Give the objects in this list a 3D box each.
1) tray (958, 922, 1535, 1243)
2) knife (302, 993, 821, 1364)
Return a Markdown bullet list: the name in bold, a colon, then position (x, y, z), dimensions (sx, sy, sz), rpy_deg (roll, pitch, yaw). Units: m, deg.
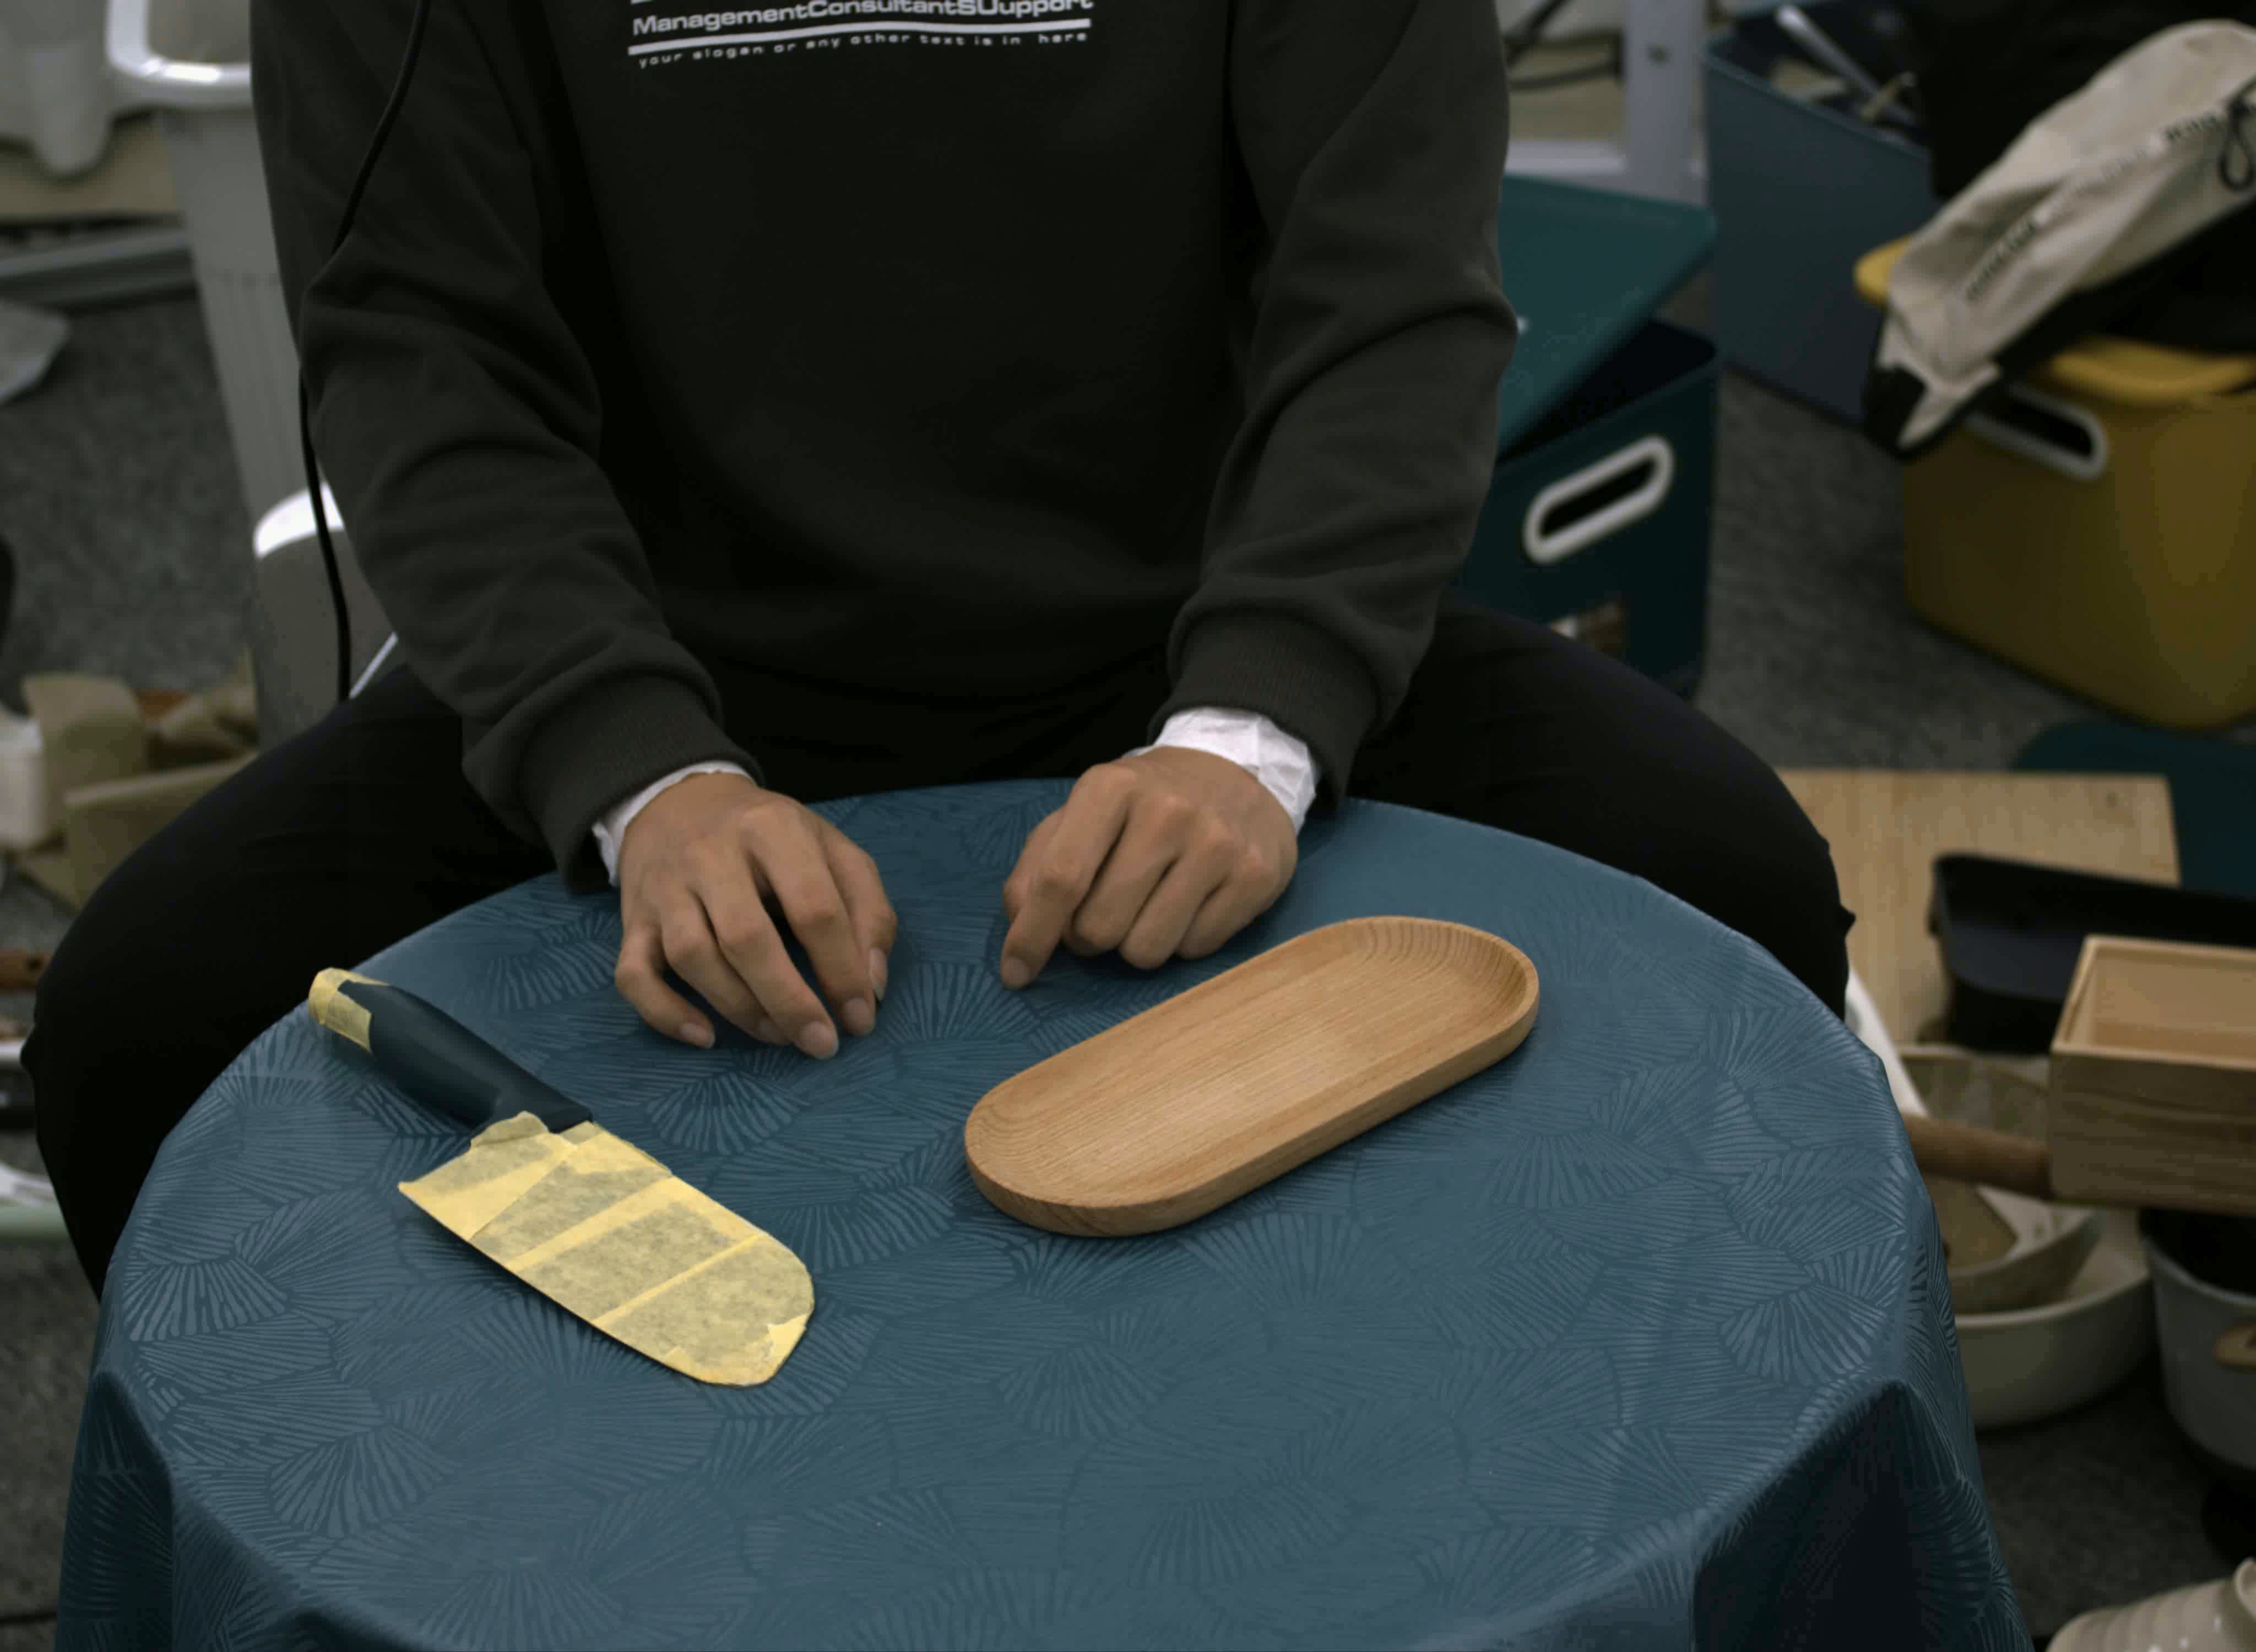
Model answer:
- **tray**: position (0.042, 0.086, 1.909), dimensions (0.234, 0.020, 0.101), rpy_deg (-26, 34, -35)
- **knife**: position (-0.200, 0.119, 1.870), dimensions (0.082, 0.027, 0.289), rpy_deg (-21, 33, -34)
